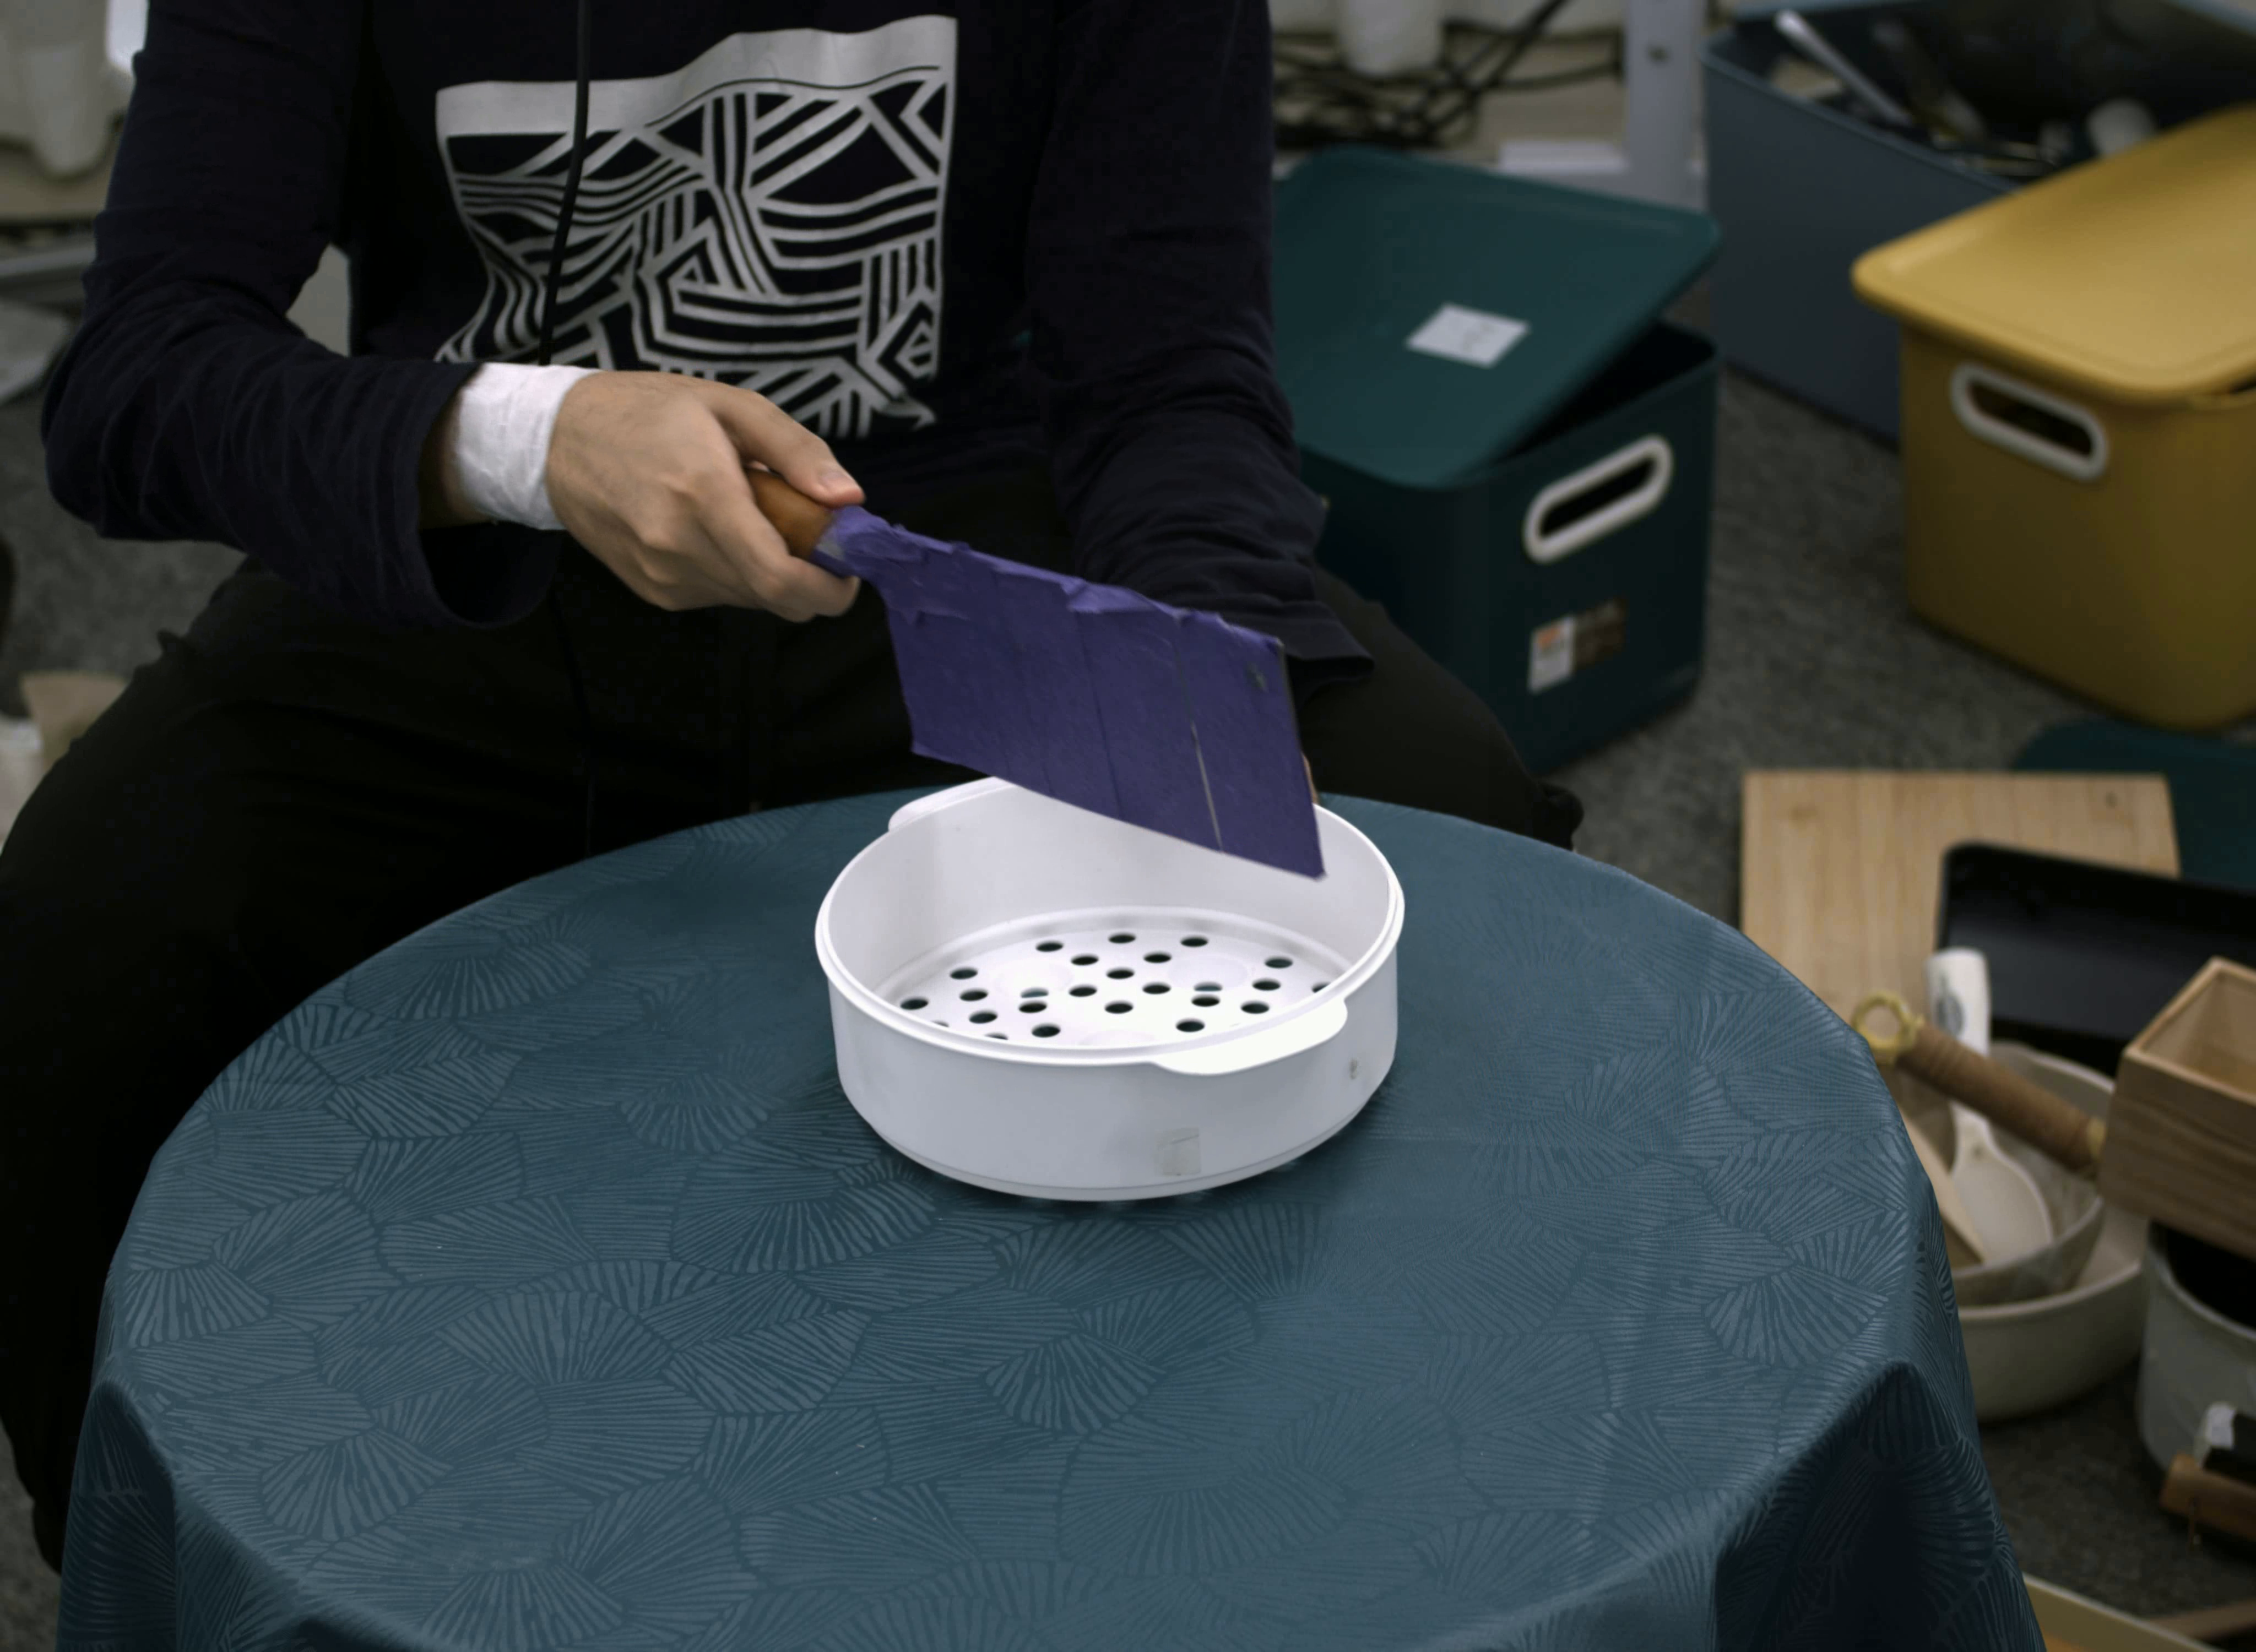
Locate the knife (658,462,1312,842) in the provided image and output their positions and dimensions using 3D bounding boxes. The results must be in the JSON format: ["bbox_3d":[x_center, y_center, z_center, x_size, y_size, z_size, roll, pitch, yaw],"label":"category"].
[{"bbox_3d":[-0.053,-0.057,1.906,0.032,0.103,0.314,-26,28,-33],"label":"knife"}]

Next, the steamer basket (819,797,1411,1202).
[{"bbox_3d":[-0.003,0.059,1.914,0.203,0.068,0.231,-15,27,-25],"label":"steamer basket"}]
